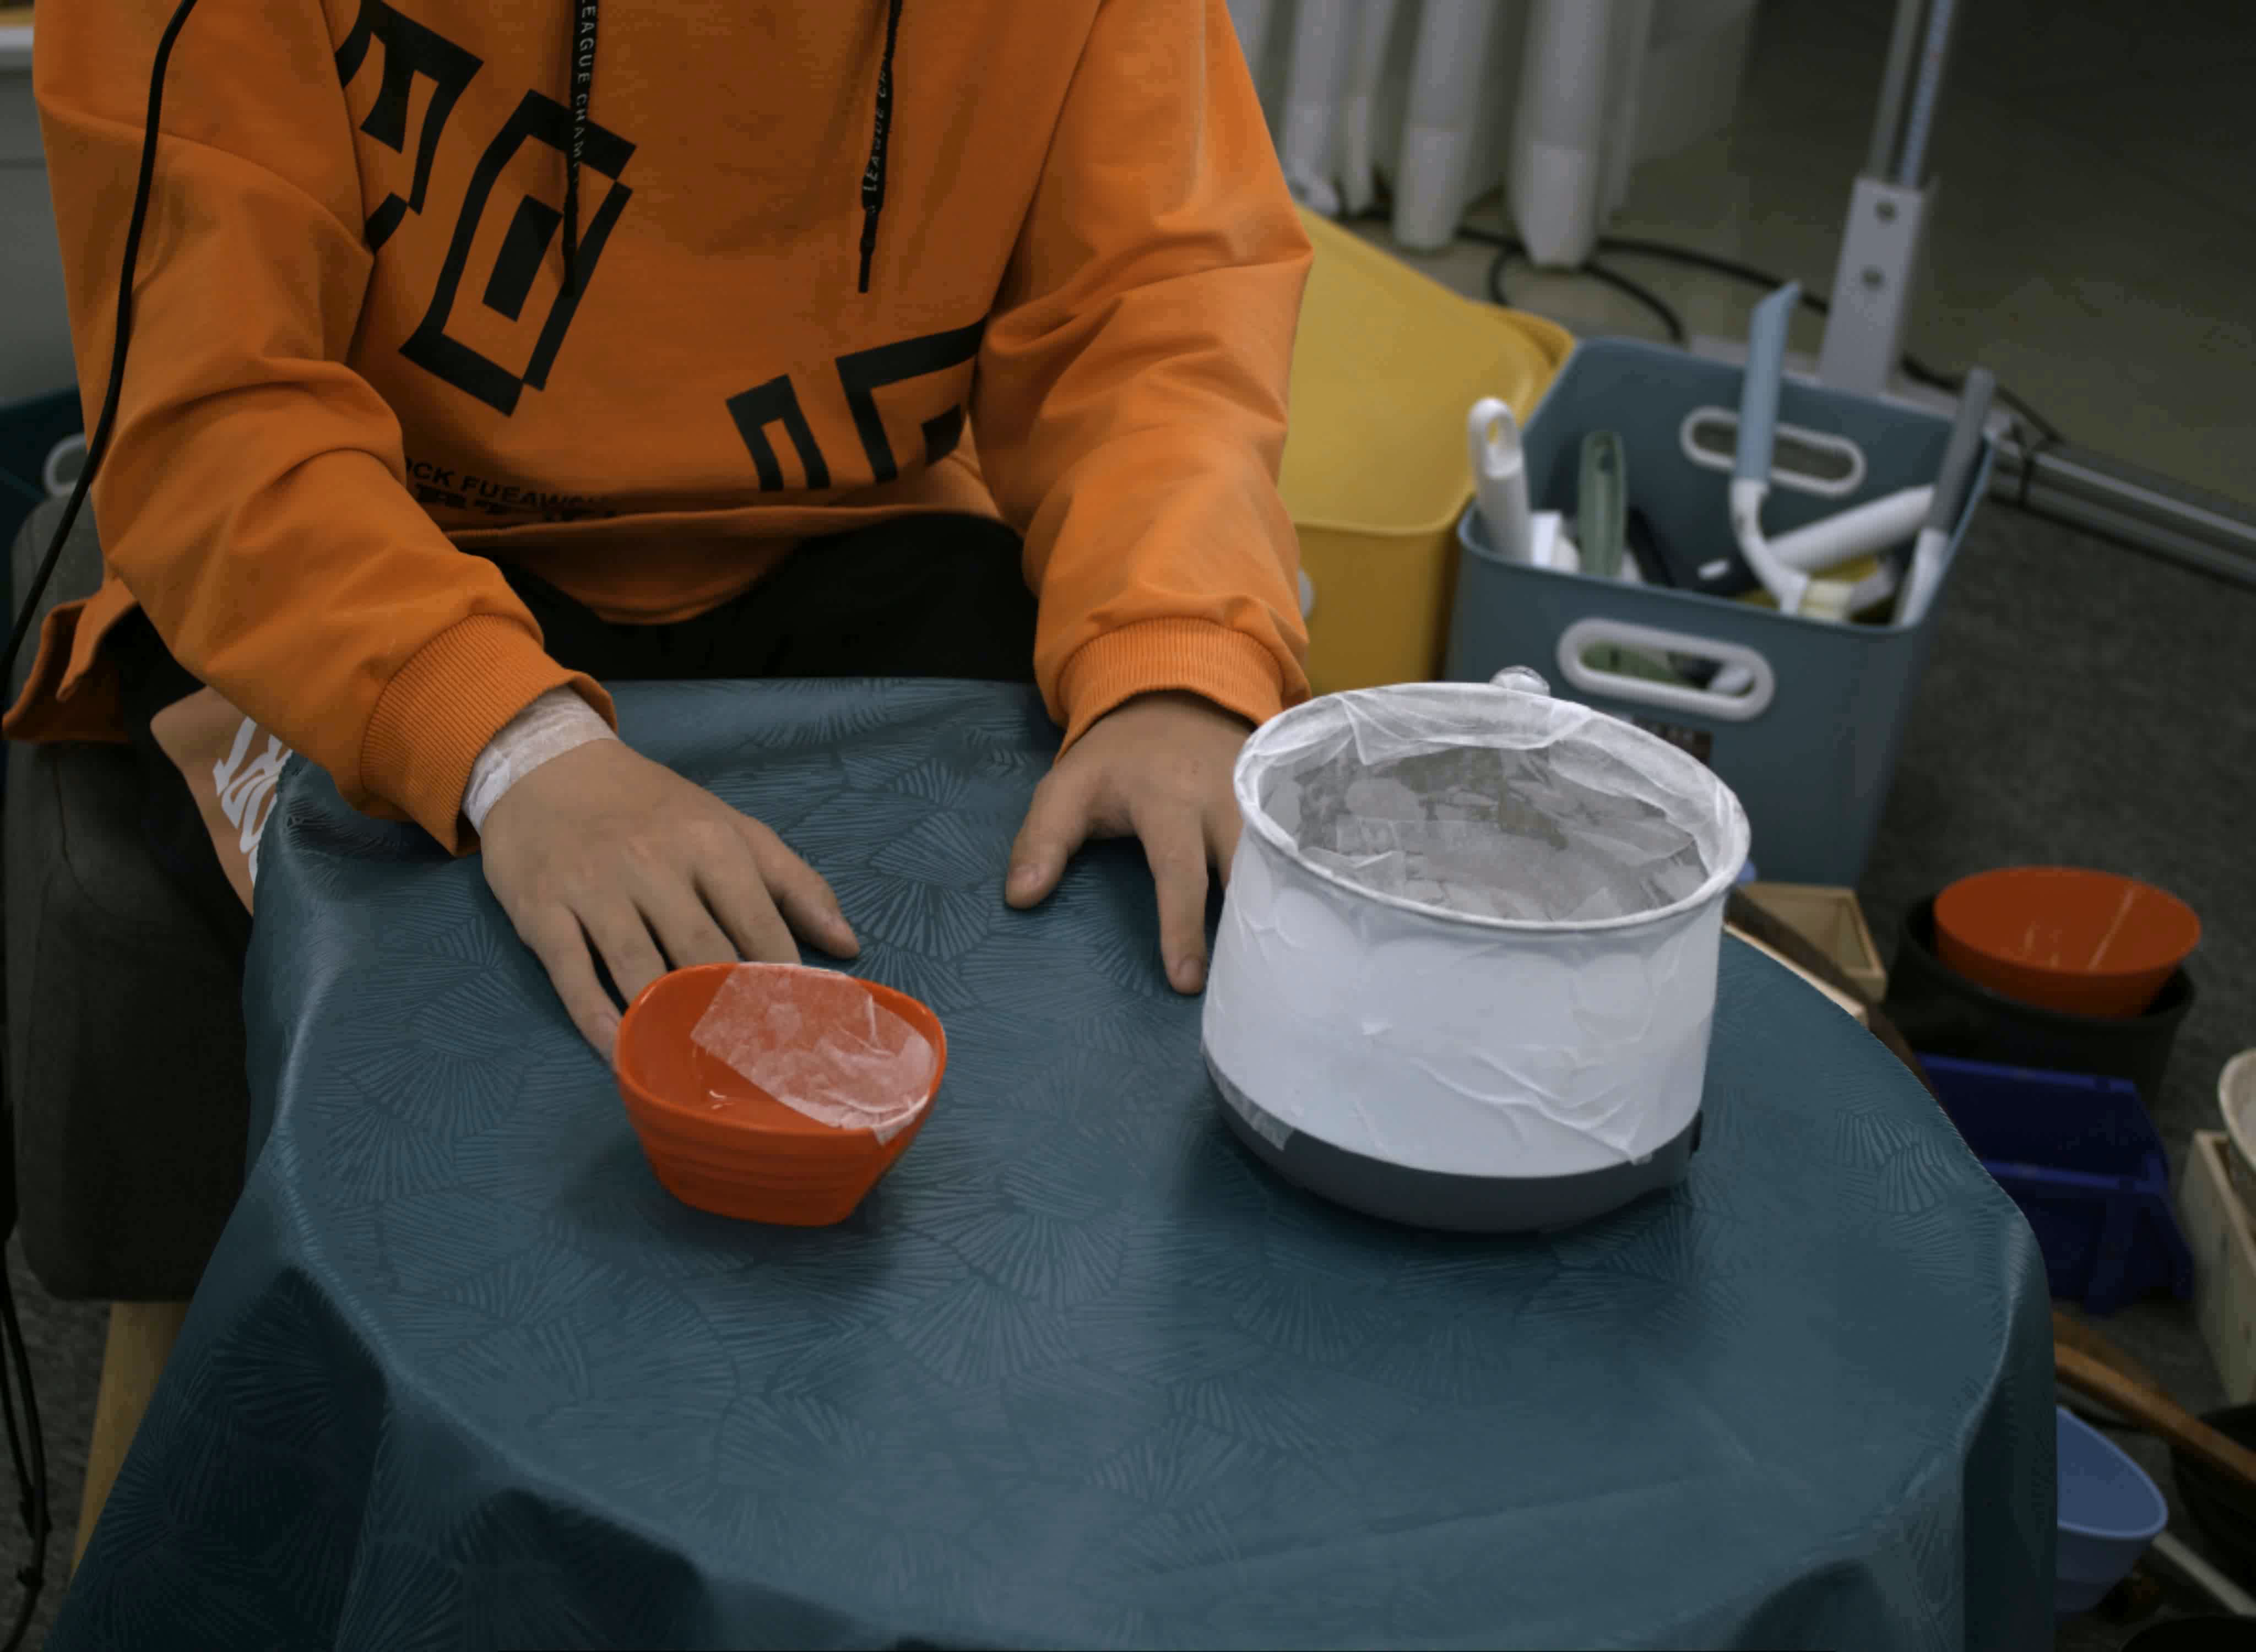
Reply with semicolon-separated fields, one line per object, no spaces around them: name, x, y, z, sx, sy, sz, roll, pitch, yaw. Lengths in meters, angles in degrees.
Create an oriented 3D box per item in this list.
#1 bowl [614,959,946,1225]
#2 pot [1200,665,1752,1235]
bowl;-0.118;0.094;1.779;0.118;0.051;0.119;4;28;-3
pot;0.120;0.035;1.853;0.178;0.136;0.234;9;27;4
